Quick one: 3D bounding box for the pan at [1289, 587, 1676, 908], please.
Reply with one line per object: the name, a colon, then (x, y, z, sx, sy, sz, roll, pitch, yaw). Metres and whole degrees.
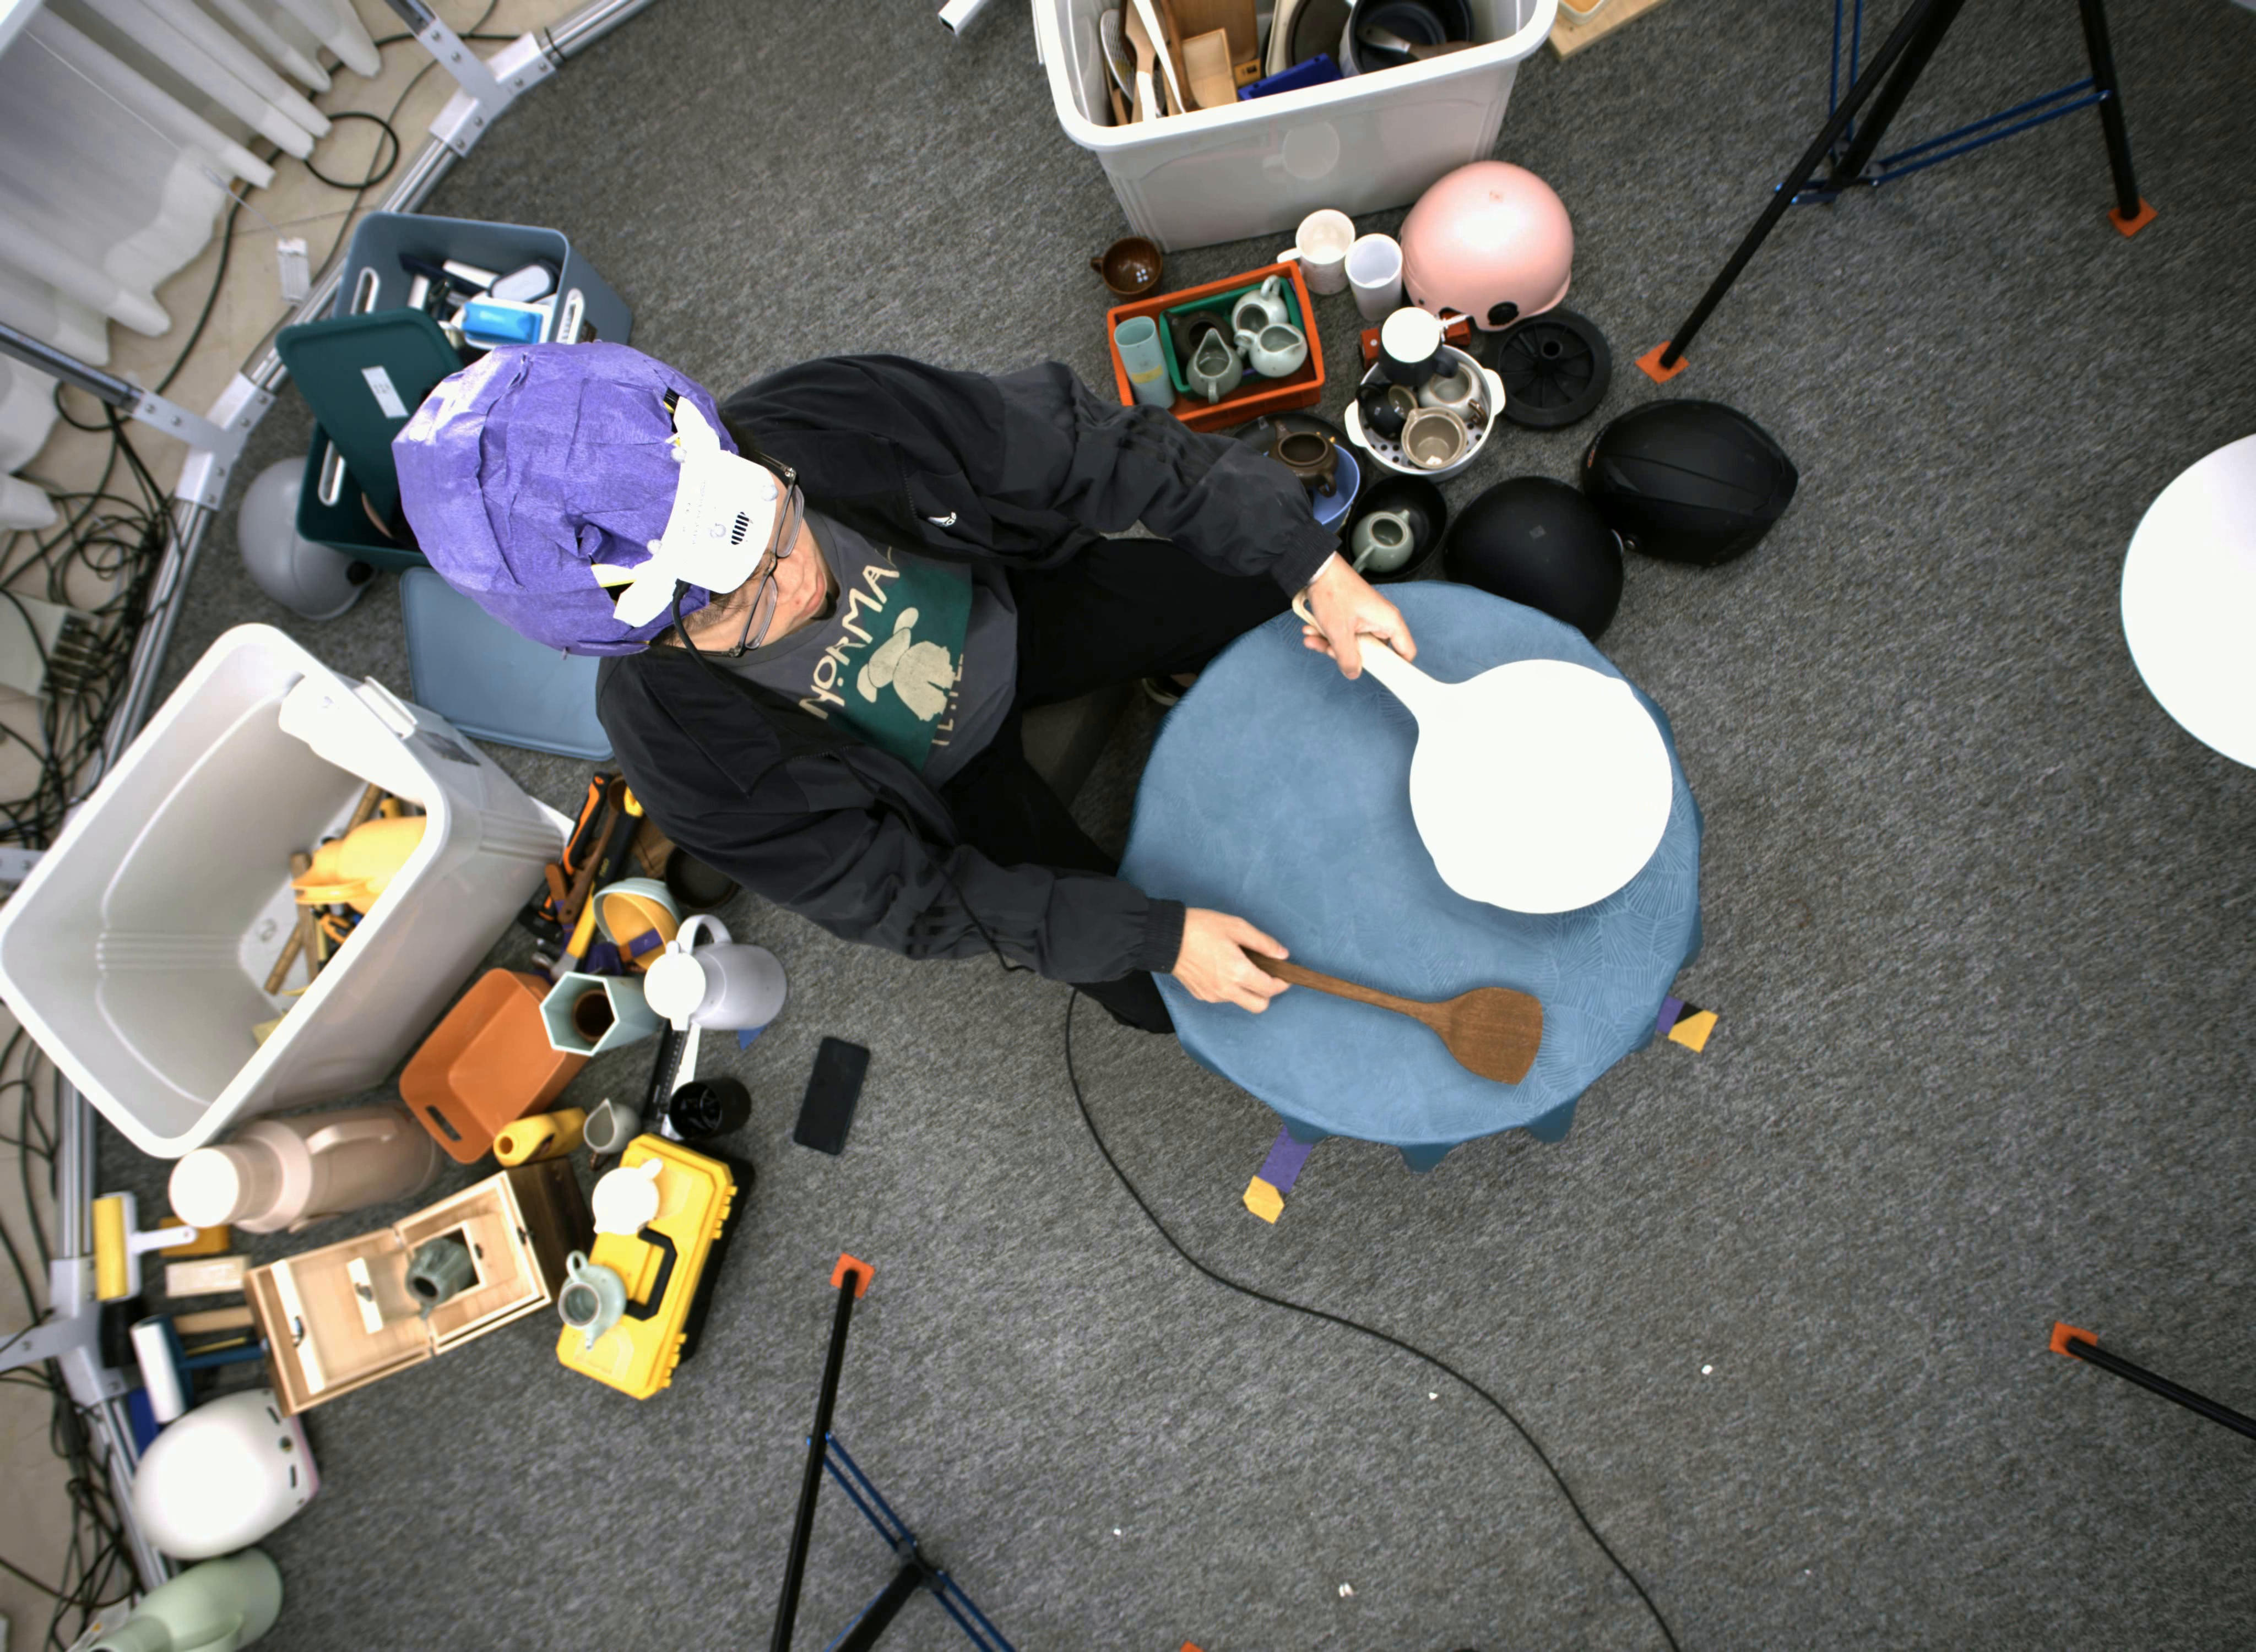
pan: (0.343, -0.102, 1.392, 0.433, 0.101, 0.265, 40, 98, 11)

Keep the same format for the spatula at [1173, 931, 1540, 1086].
spatula: (0.231, 0.170, 1.427, 0.386, 0.016, 0.096, 16, 88, 9)
